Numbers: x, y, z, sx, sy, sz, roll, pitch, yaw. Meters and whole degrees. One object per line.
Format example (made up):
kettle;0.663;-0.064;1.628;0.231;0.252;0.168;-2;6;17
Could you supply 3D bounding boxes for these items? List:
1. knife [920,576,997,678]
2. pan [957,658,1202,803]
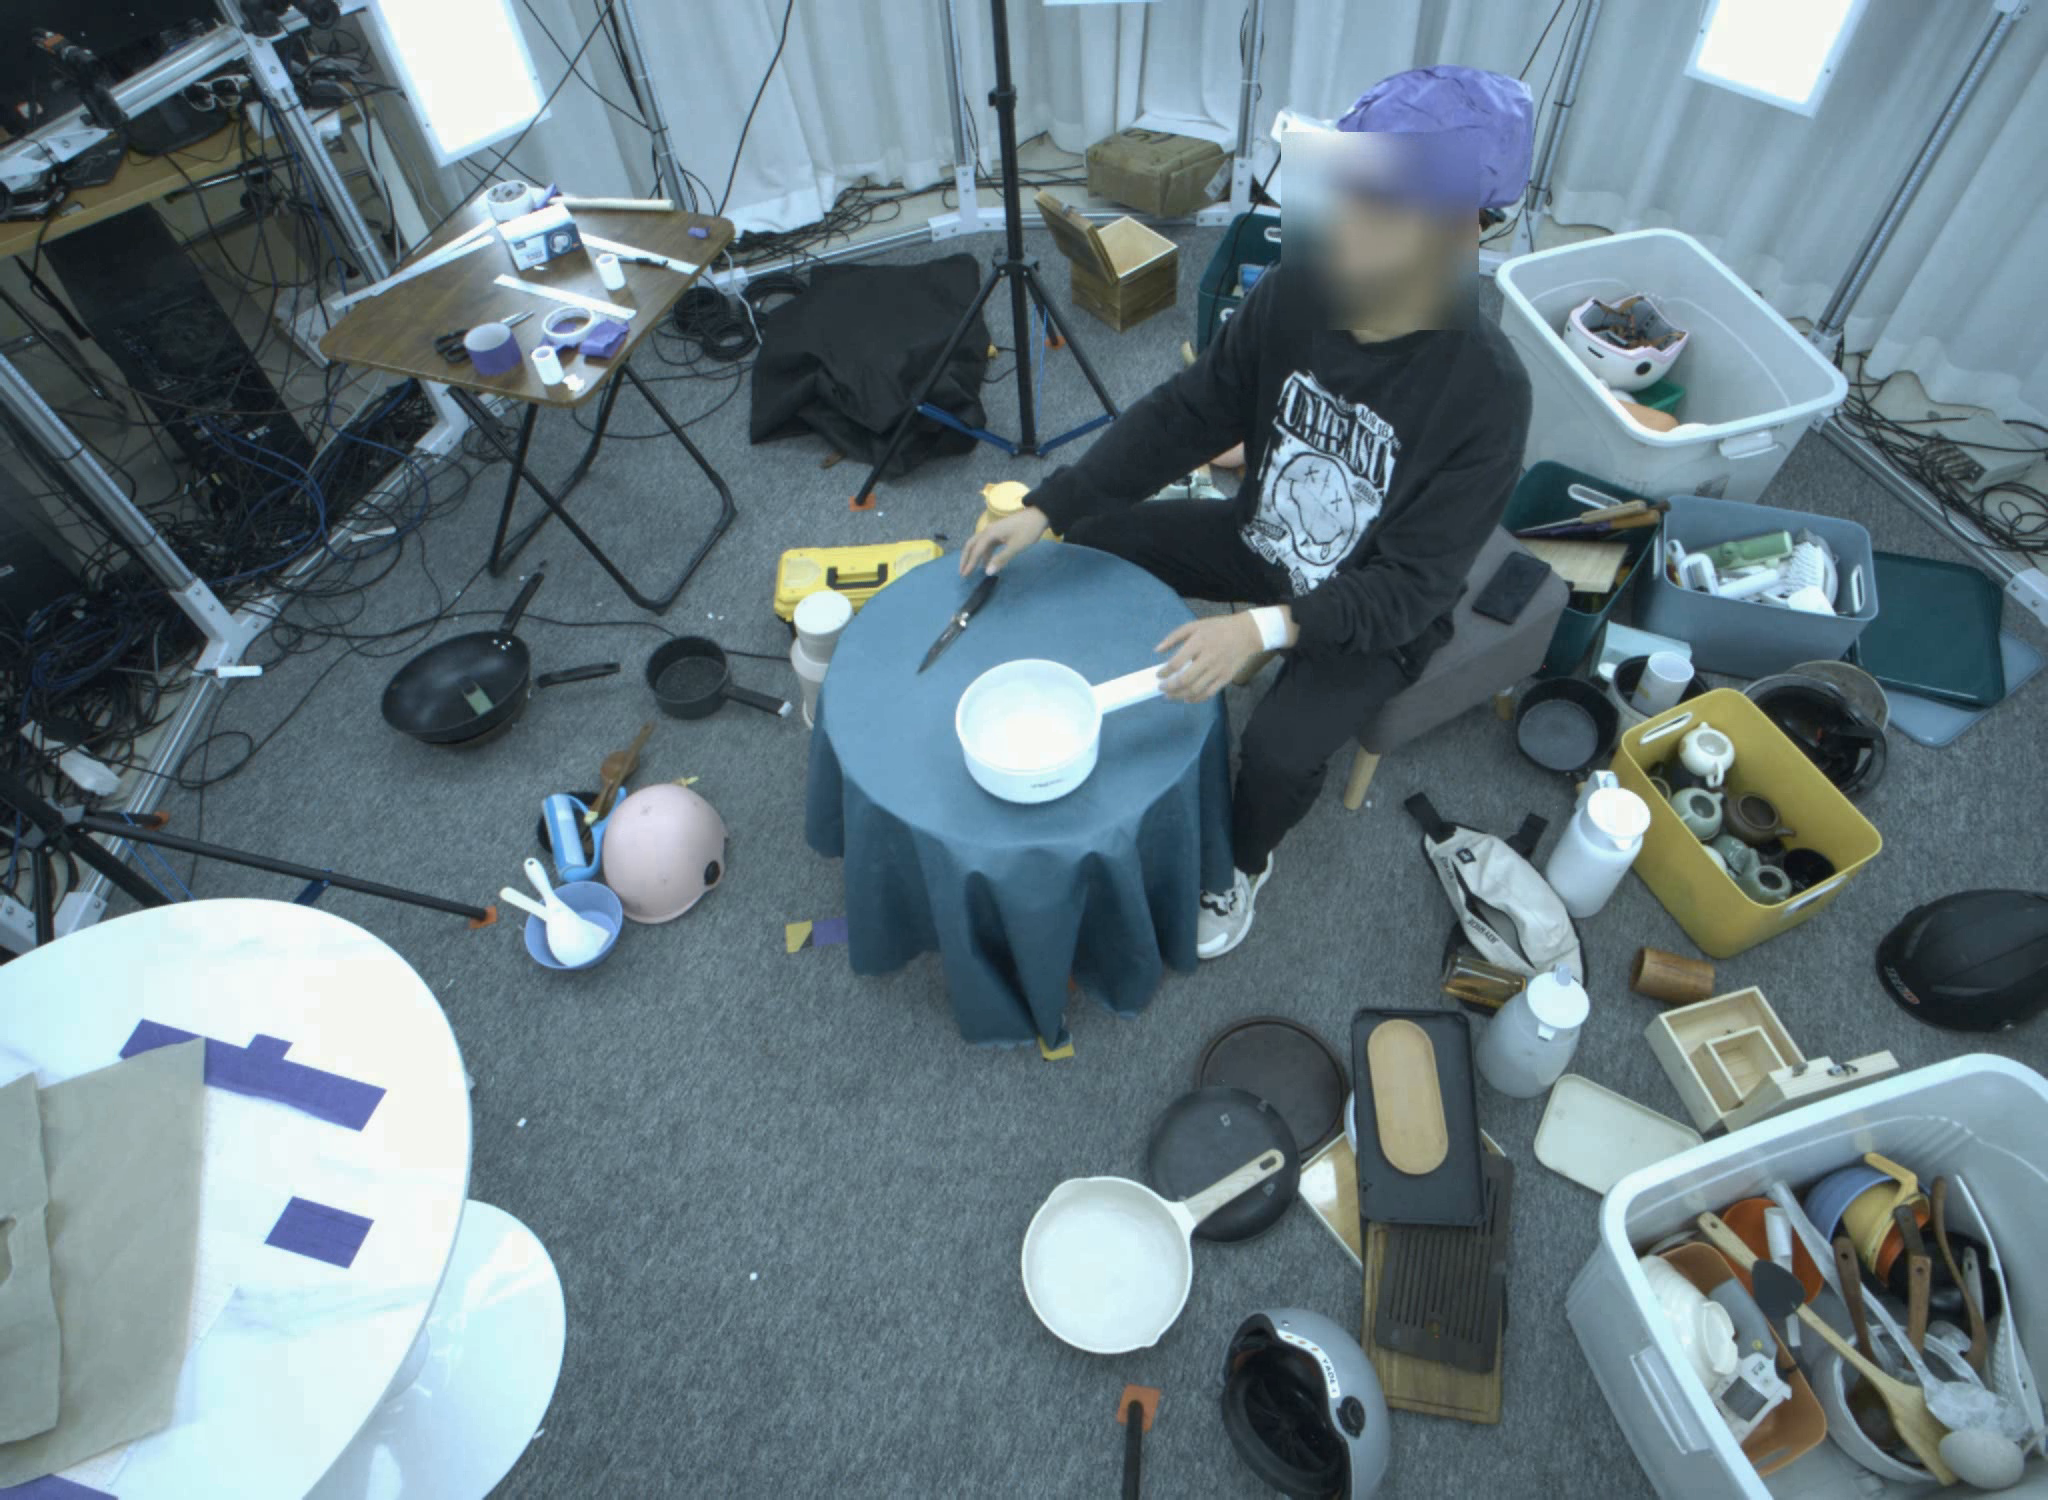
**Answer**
knife;-0.106;-0.194;1.920;0.026;0.017;0.226;33;62;5
pan;0.081;-0.043;1.752;0.357;0.103;0.197;-17;54;-11
